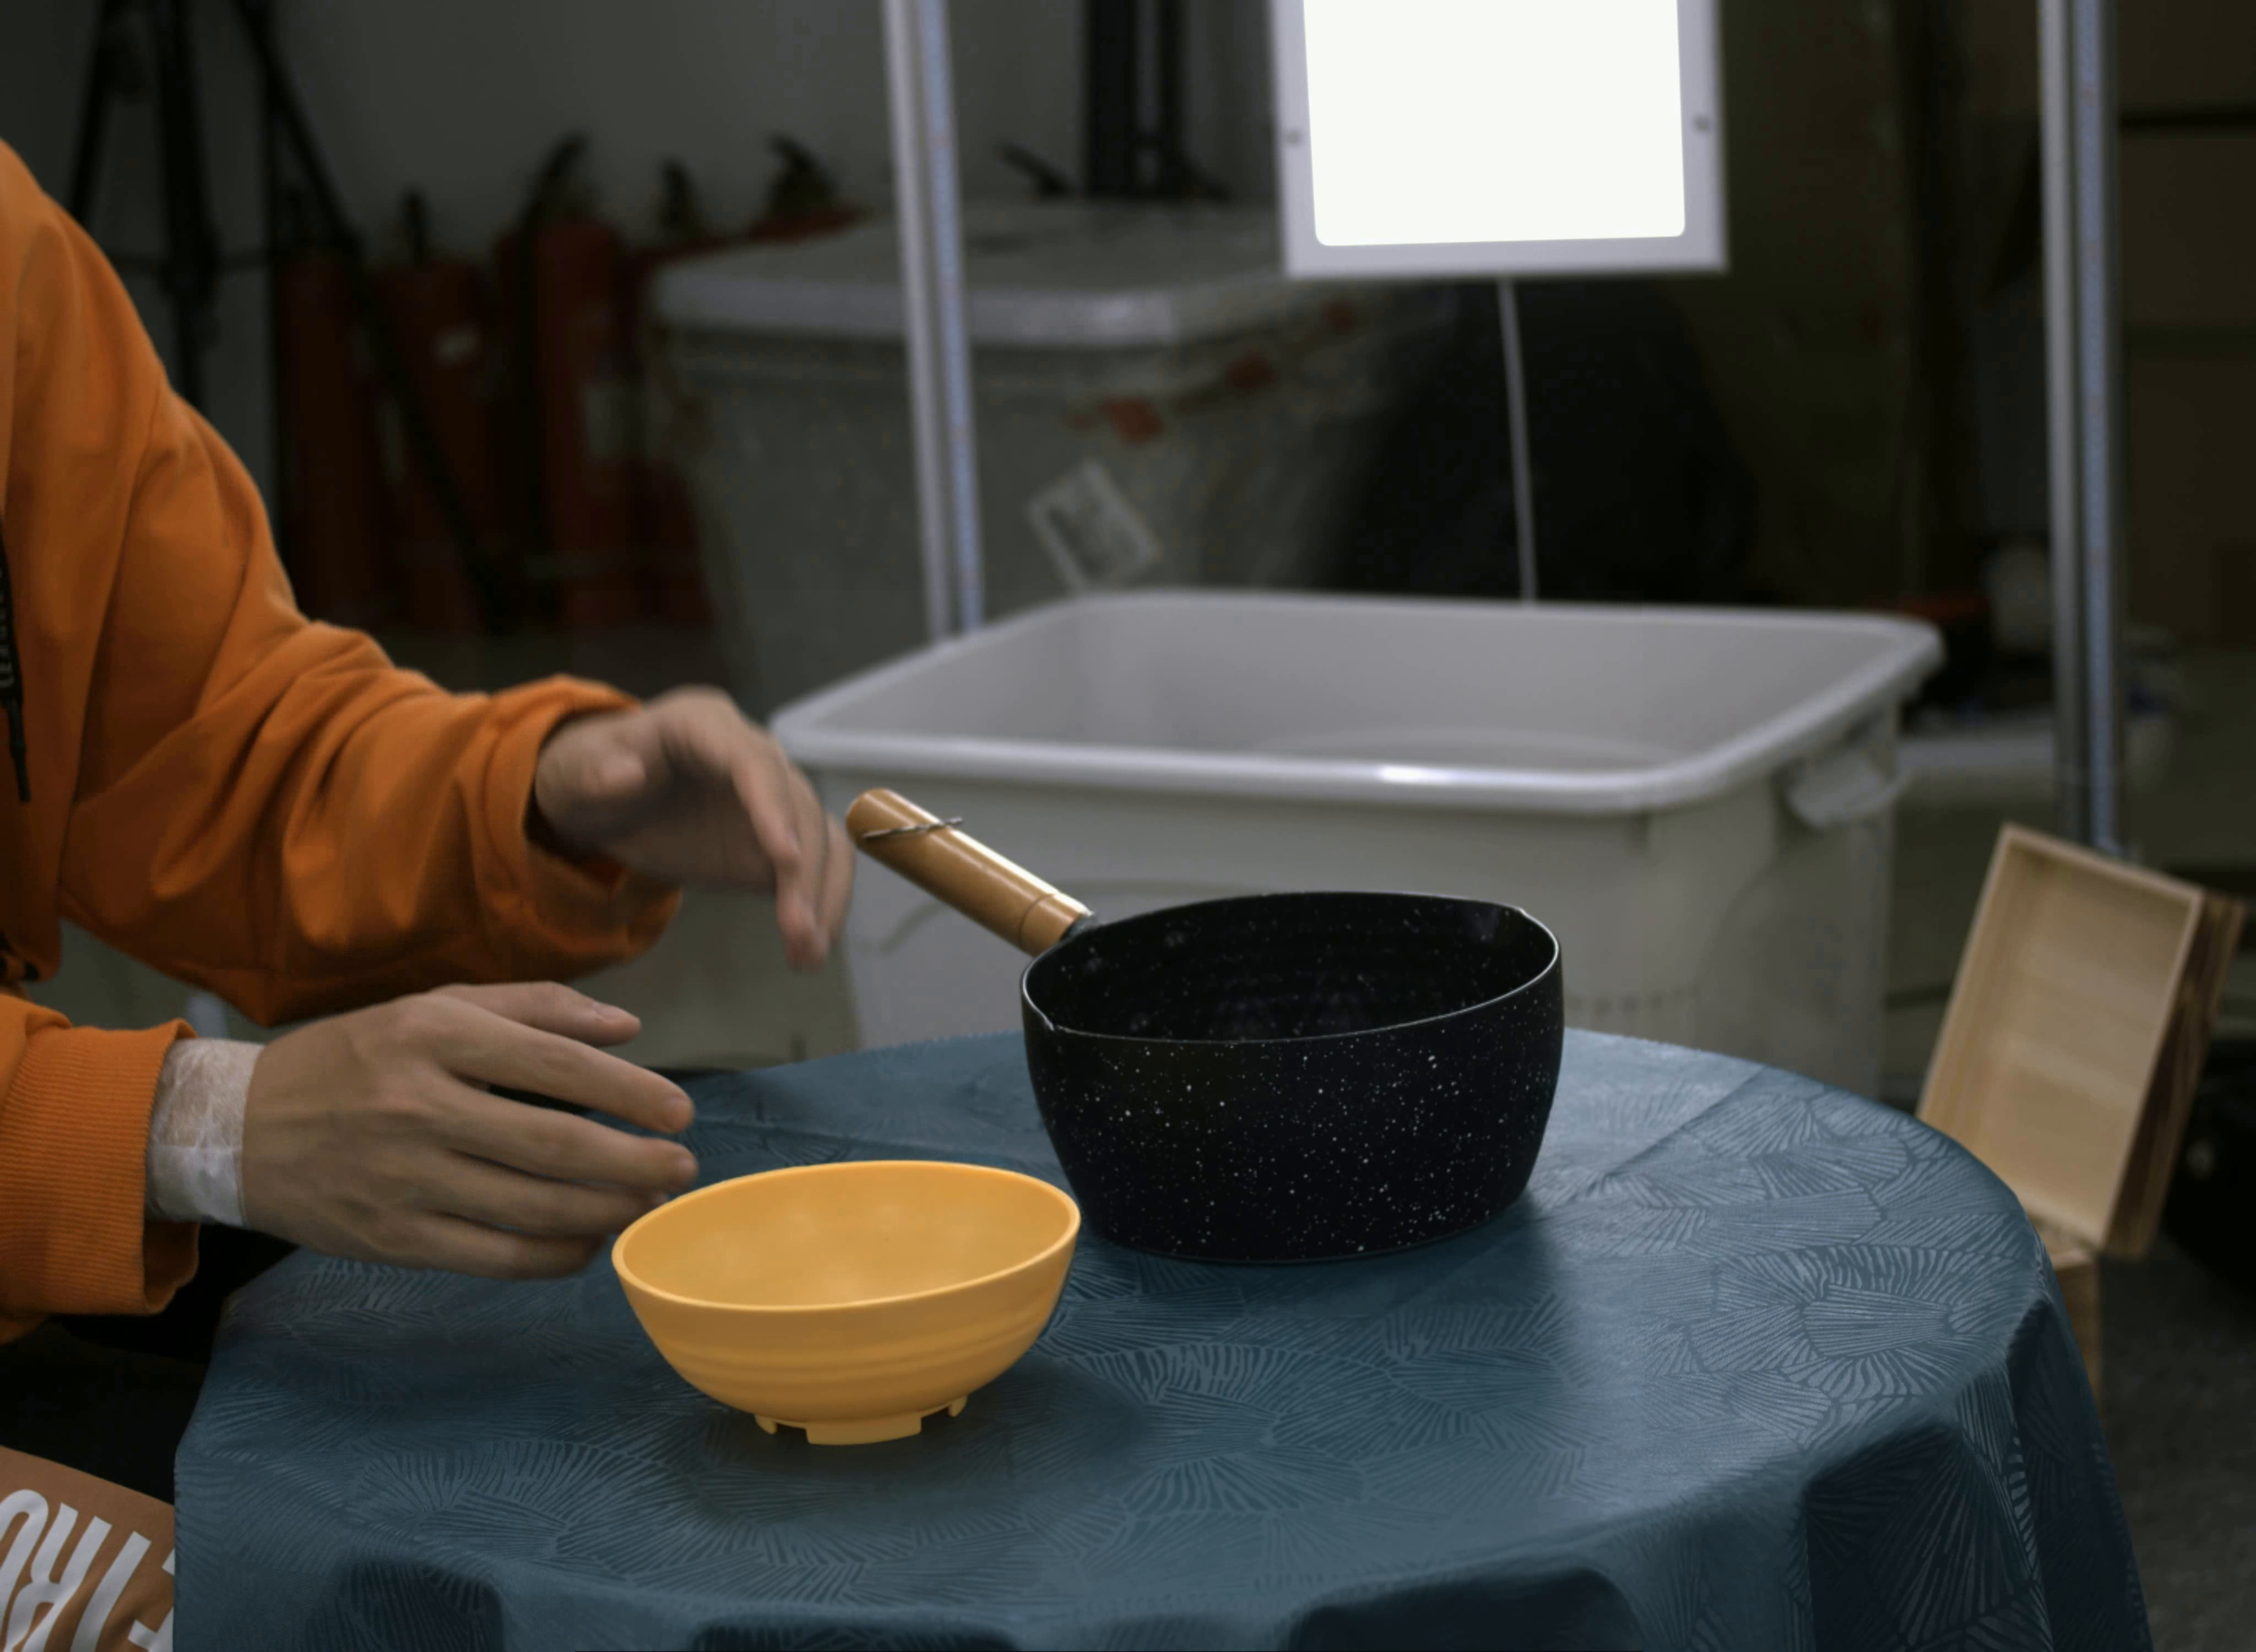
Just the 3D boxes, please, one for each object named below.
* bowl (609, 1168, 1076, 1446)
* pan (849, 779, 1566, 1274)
[{"bbox_3d":[-0.086,0.153,1.700,0.145,0.060,0.145,-5,13,0],"label":"bowl"},{"bbox_3d":[0.008,0.063,1.925,0.202,0.108,0.350,-17,19,-34],"label":"pan"}]
